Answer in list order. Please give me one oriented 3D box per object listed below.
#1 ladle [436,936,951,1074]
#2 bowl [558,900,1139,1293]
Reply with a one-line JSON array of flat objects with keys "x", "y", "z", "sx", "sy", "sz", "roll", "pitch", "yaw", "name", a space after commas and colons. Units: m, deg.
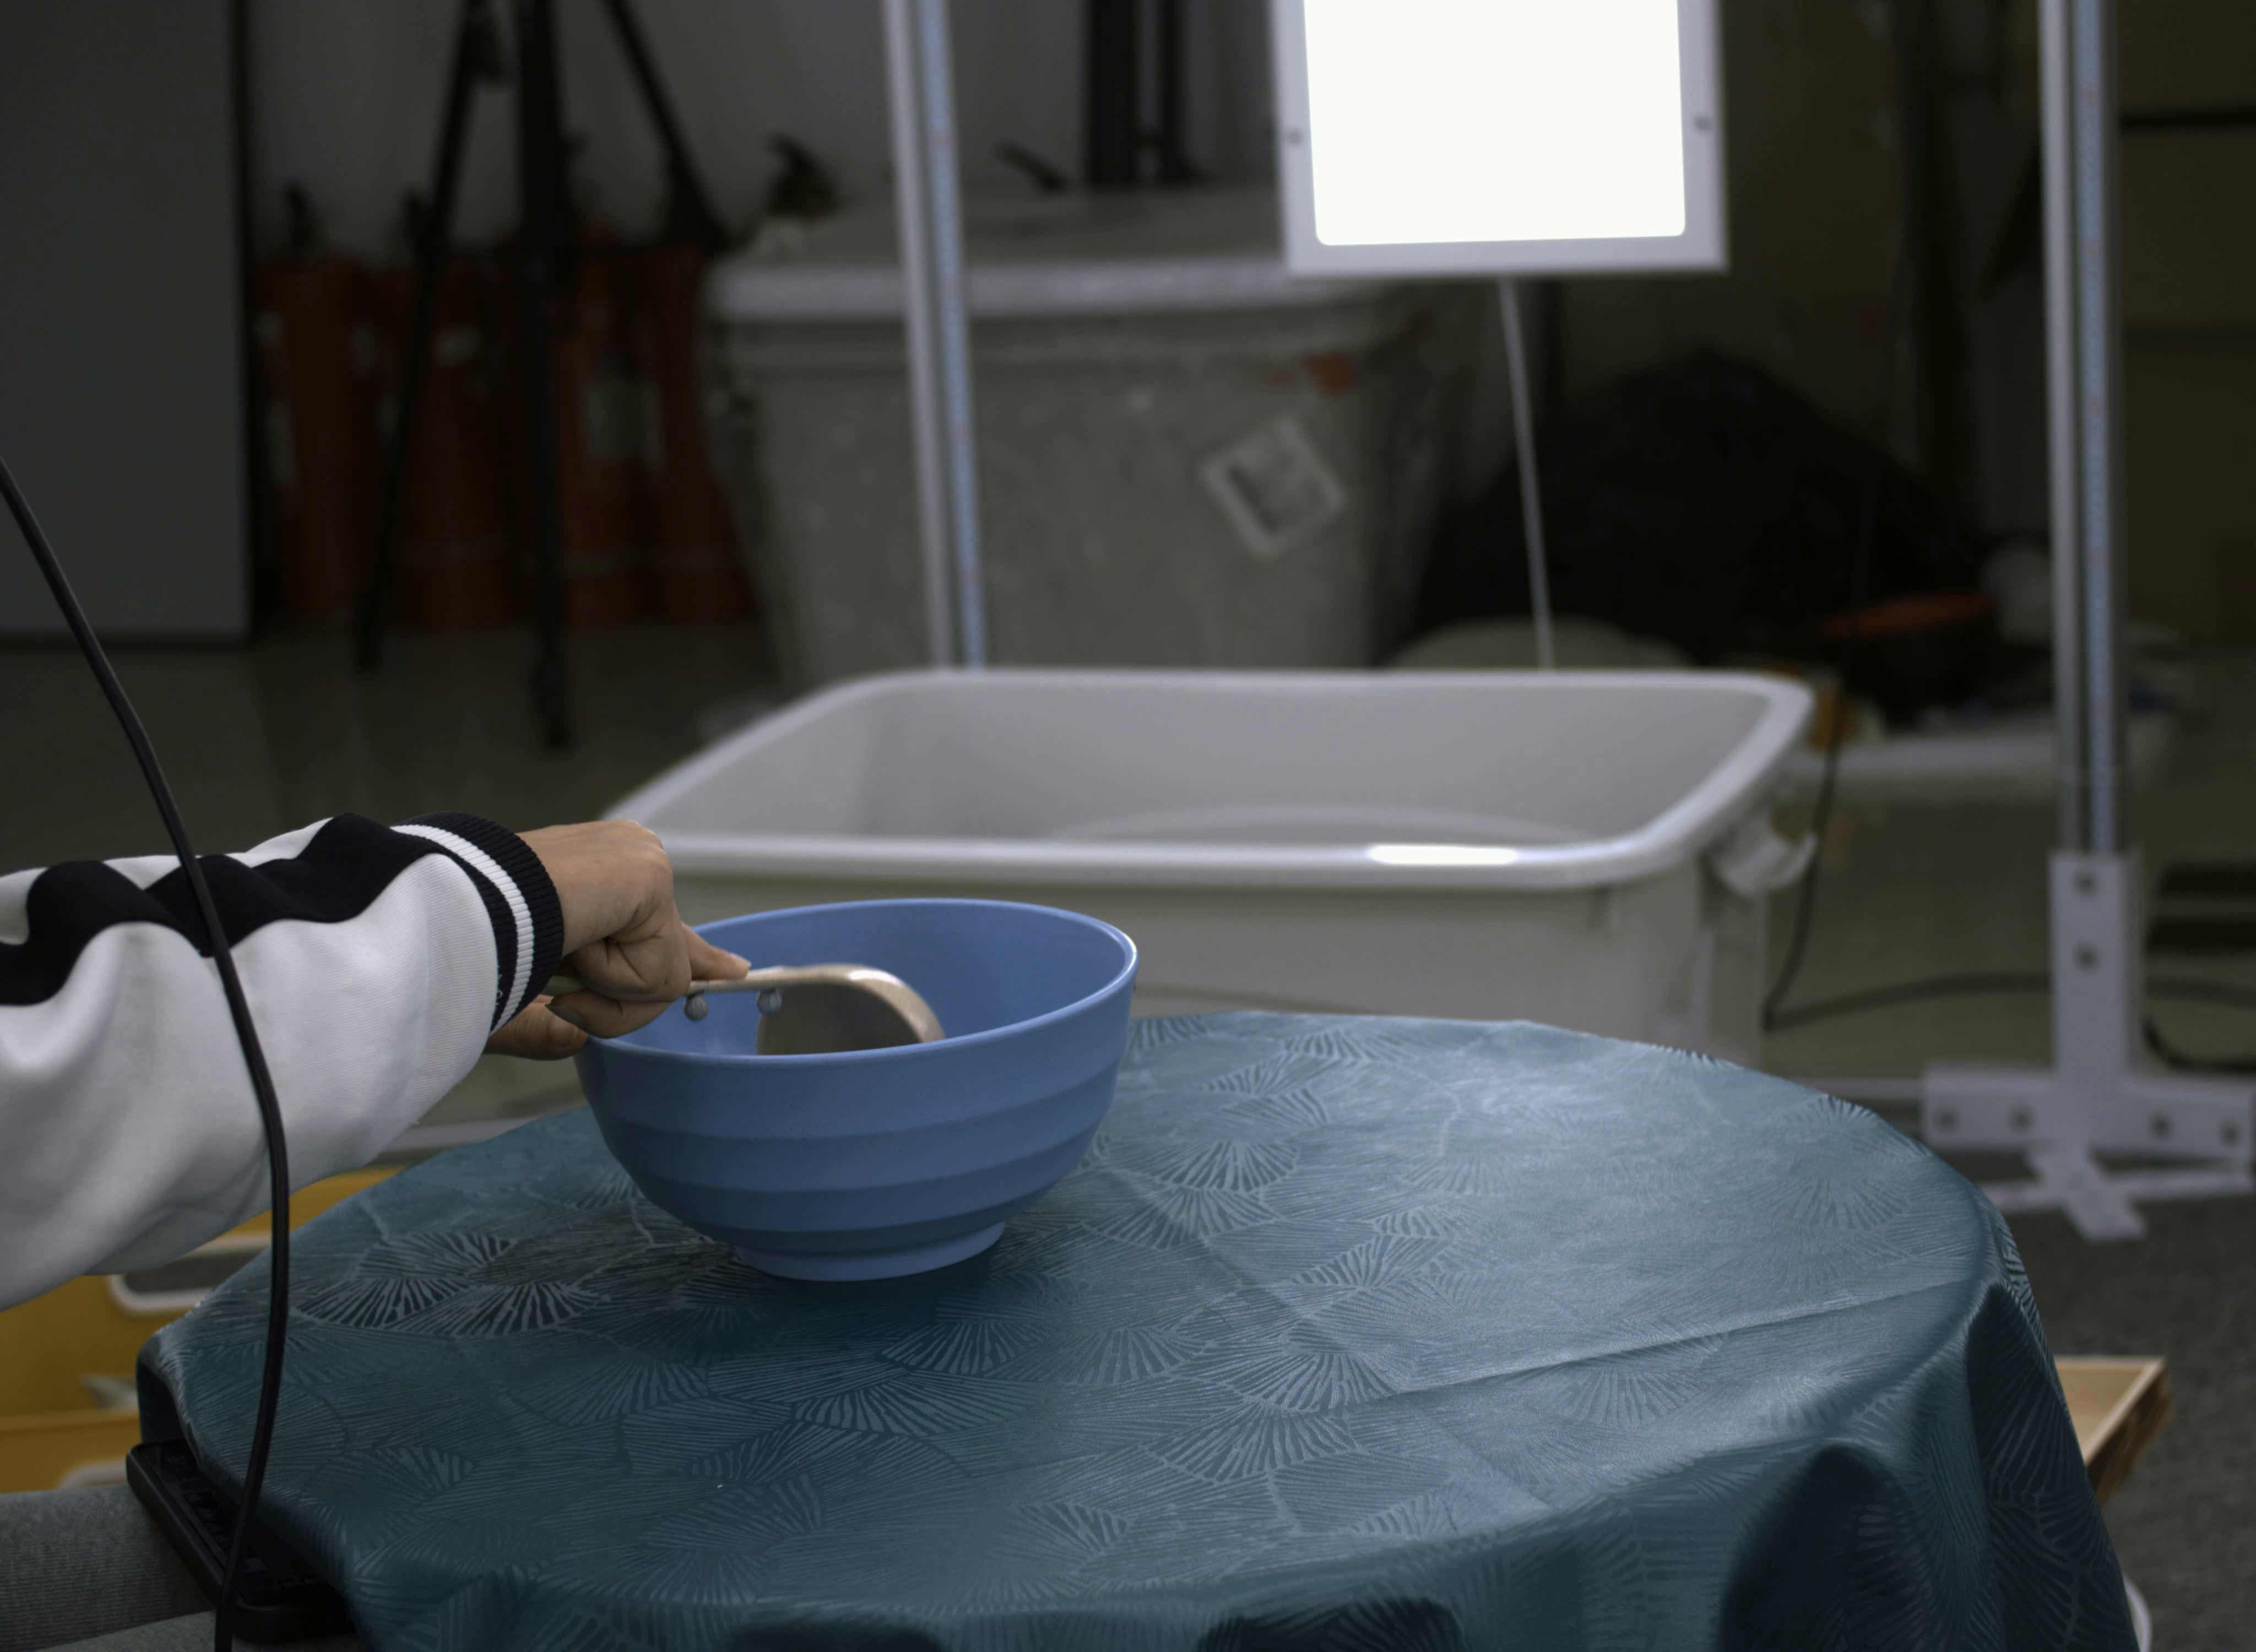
[{"x": -0.145, "y": 0.076, "z": 1.783, "sx": 0.073, "sy": 0.073, "sz": 0.249, "roll": 7, "pitch": 1, "yaw": 33, "name": "ladle"}, {"x": -0.091, "y": 0.098, "z": 1.863, "sx": 0.196, "sy": 0.096, "sz": 0.196, "roll": -5, "pitch": 15, "yaw": 0, "name": "bowl"}]
